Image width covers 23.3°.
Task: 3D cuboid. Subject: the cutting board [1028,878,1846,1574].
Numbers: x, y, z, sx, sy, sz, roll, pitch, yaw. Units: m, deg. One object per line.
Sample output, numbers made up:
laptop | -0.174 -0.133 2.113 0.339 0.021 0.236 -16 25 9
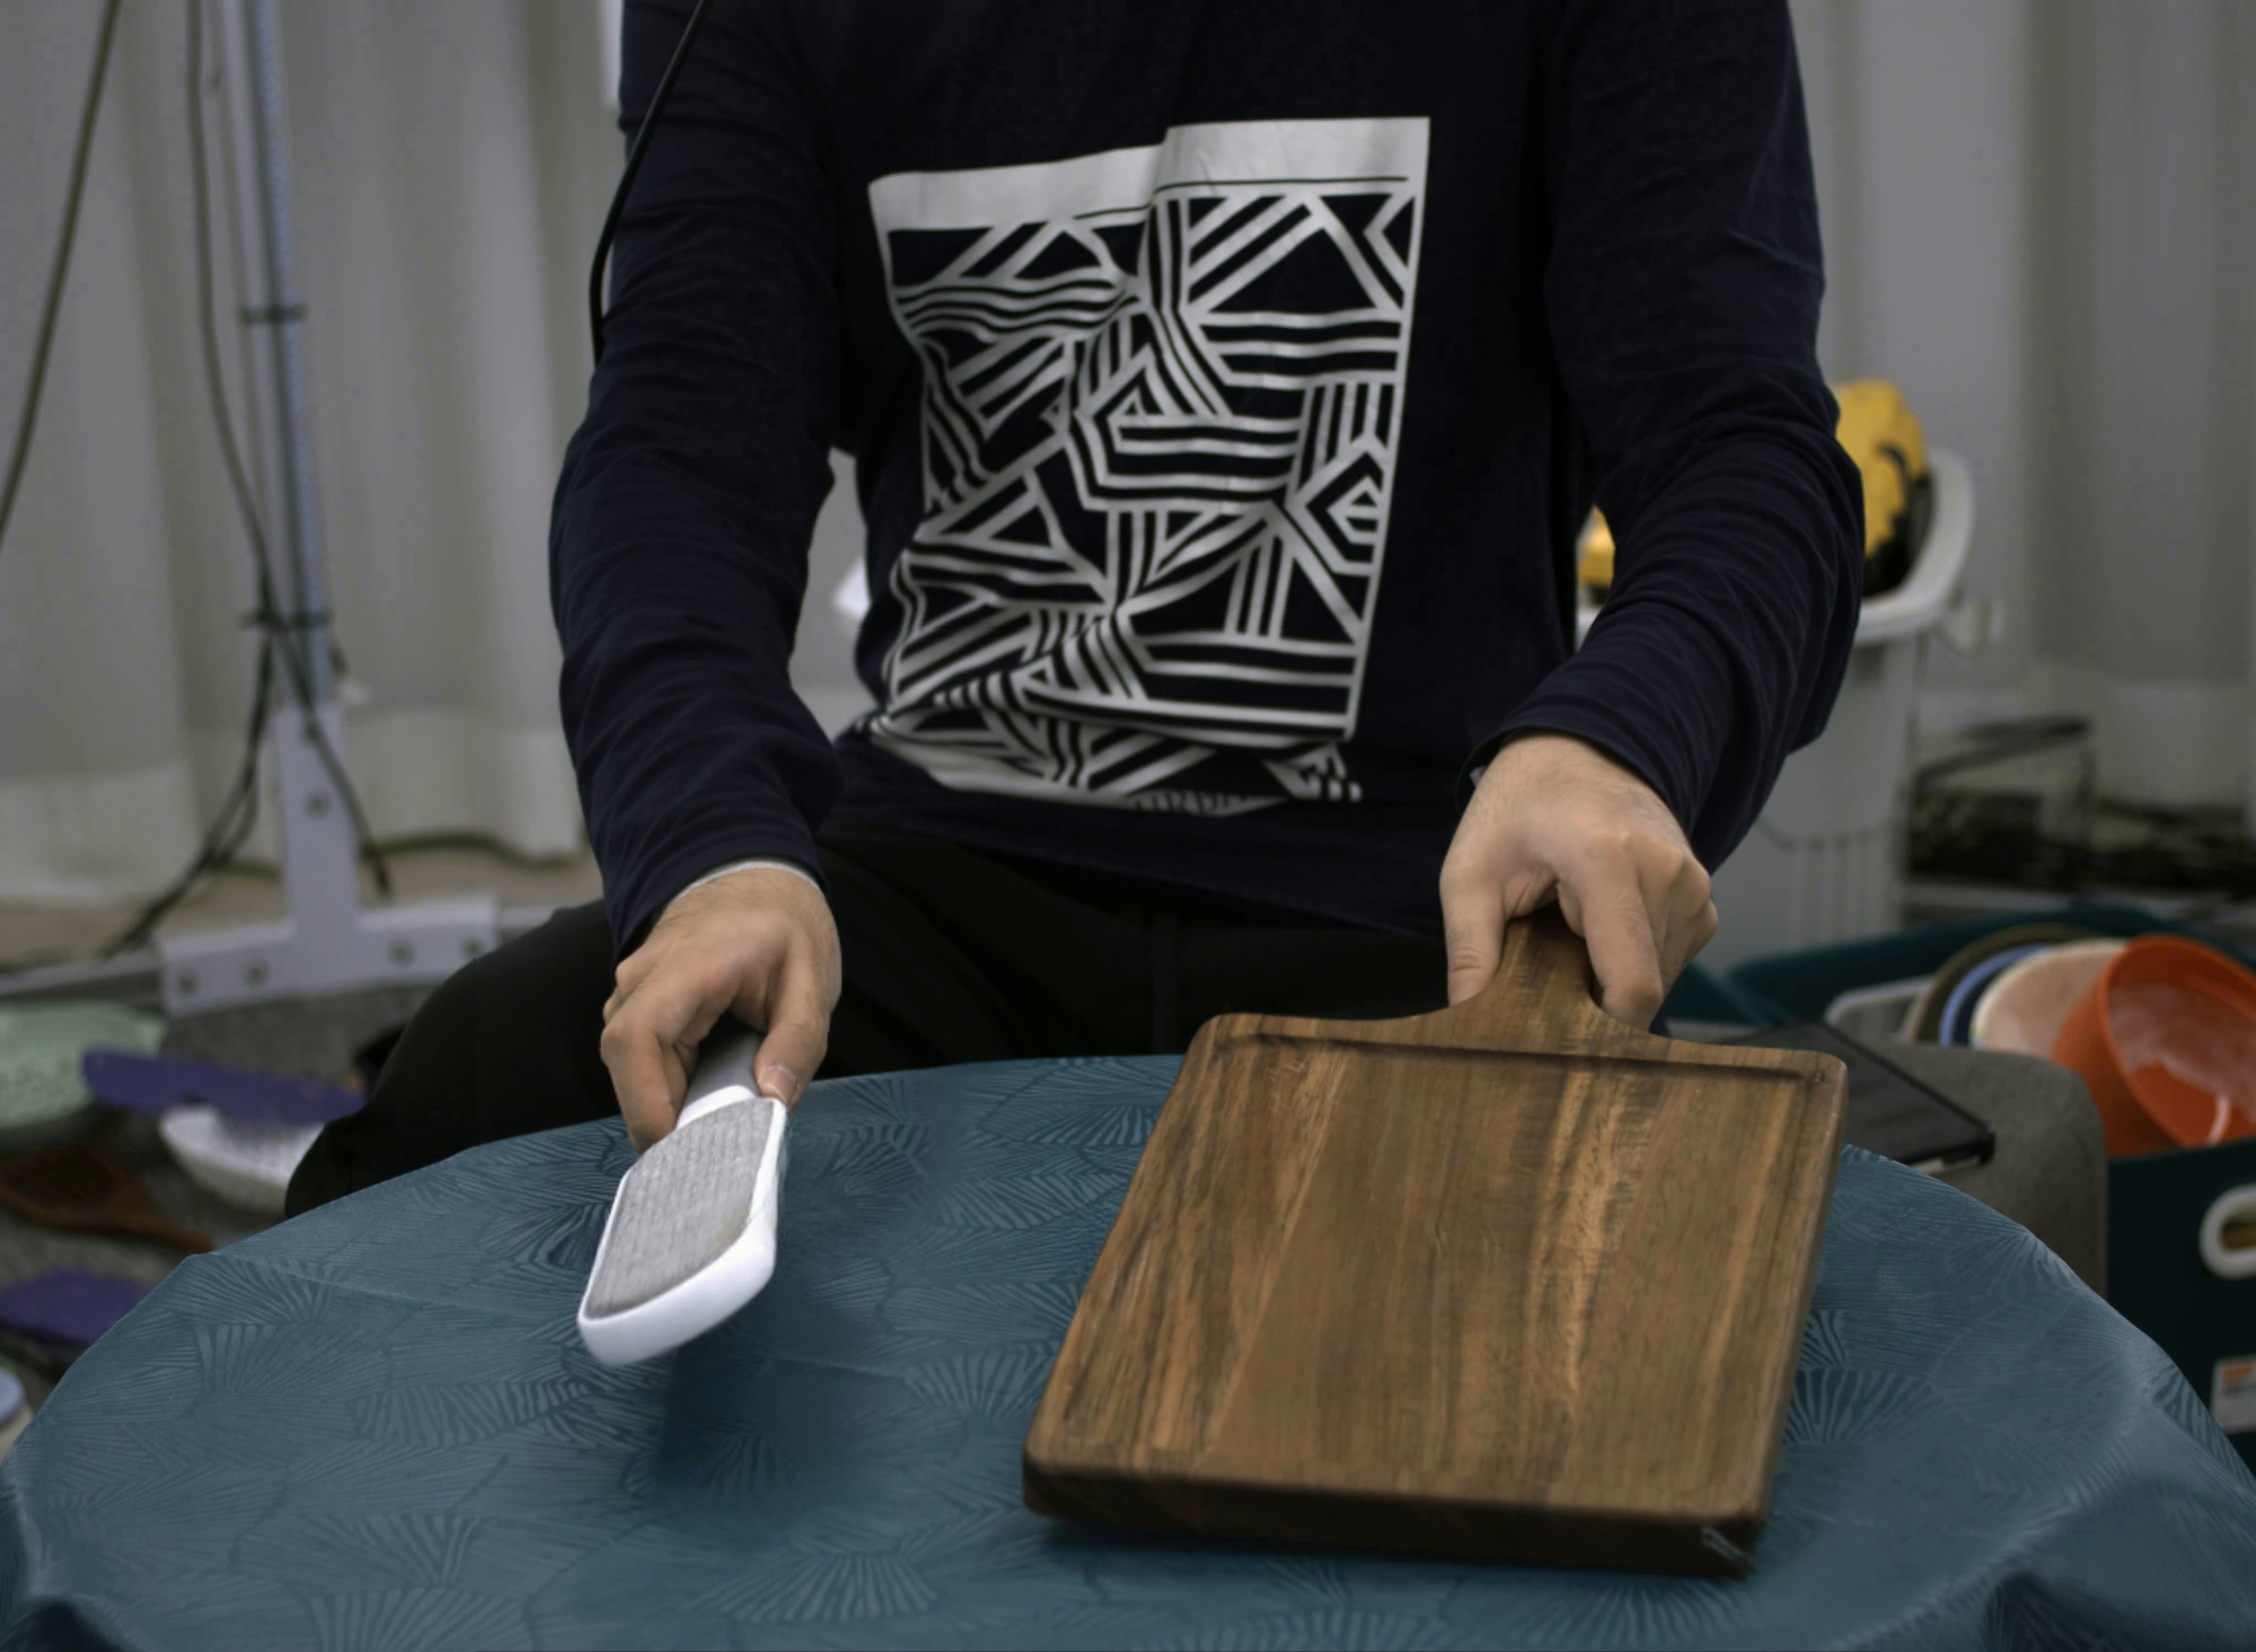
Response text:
cutting board | 0.102 0.103 1.563 0.201 0.023 0.355 2 27 12

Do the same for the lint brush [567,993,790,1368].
lint brush | -0.125 0.098 1.624 0.060 0.021 0.311 -31 11 7
